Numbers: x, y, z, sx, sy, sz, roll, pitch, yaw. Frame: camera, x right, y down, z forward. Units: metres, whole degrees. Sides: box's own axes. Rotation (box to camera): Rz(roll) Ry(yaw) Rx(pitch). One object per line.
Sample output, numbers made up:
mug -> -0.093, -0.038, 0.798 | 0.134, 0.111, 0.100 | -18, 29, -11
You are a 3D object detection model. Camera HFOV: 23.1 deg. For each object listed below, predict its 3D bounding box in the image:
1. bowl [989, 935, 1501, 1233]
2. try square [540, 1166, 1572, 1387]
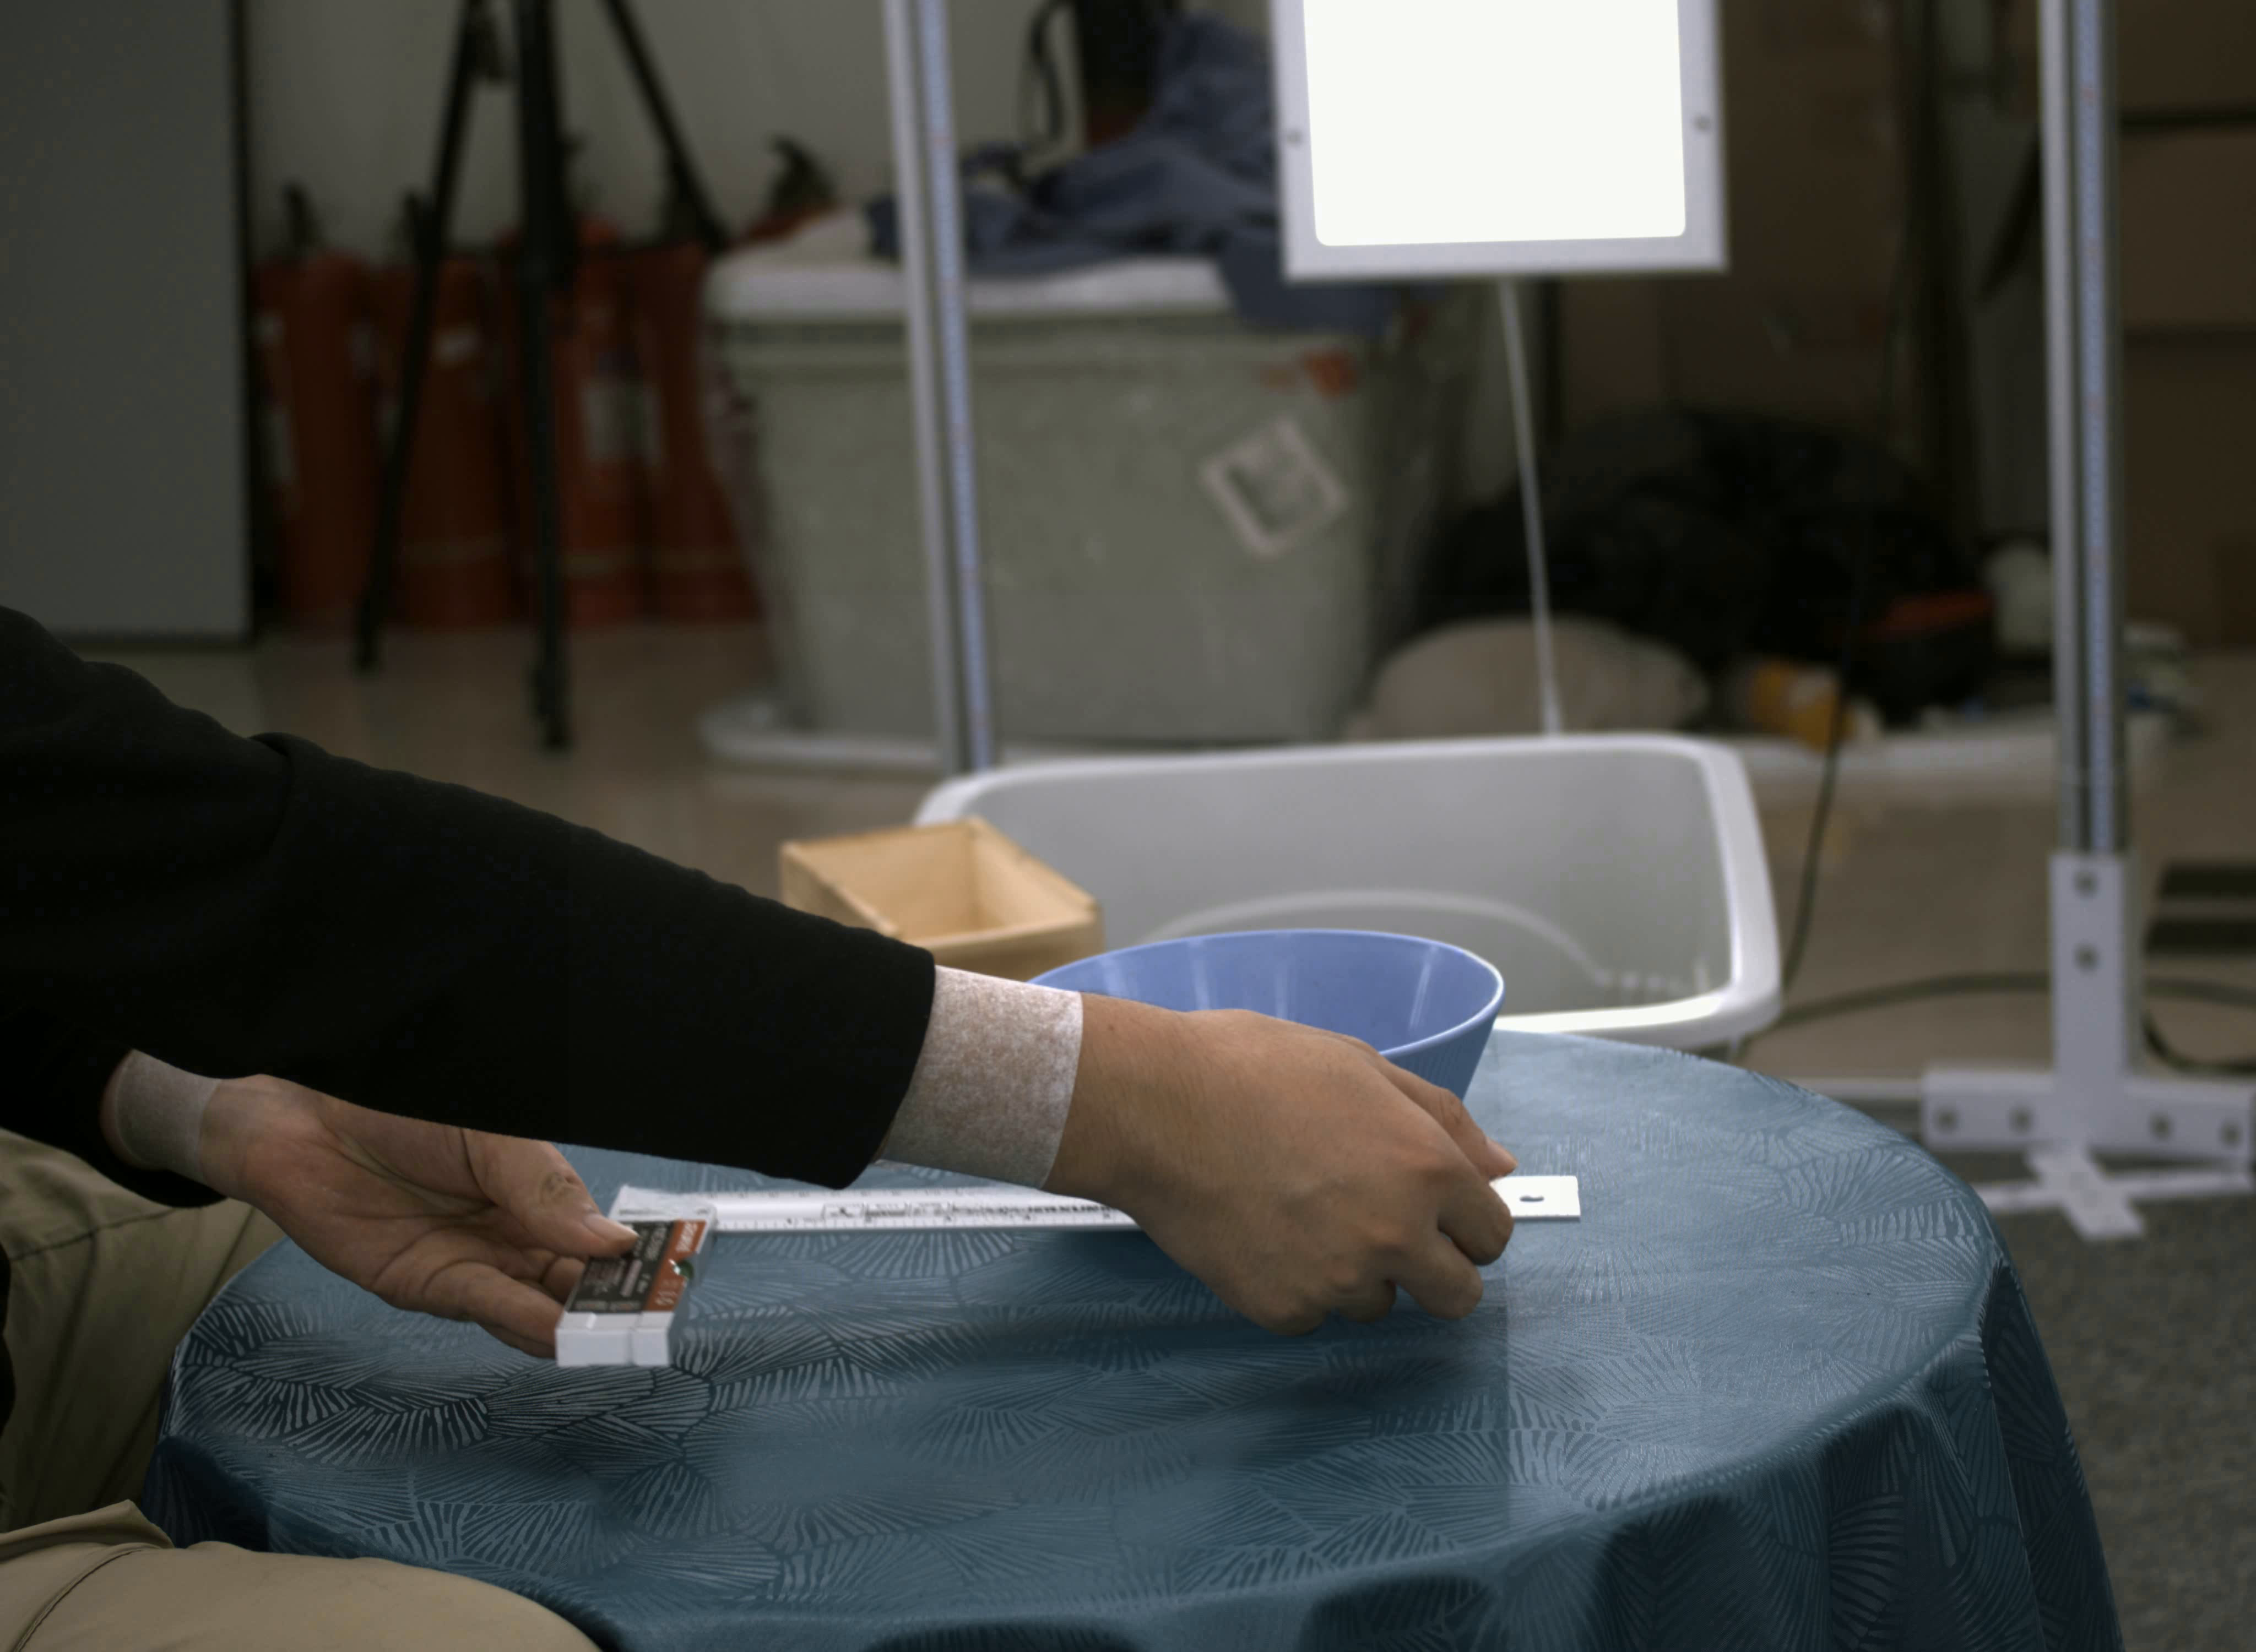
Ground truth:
bowl -> 0.042, 0.090, 1.884 | 0.175, 0.070, 0.176 | -5, 14, 0
try square -> -0.018, 0.136, 1.706 | 0.313, 0.016, 0.151 | -1, 18, 6
